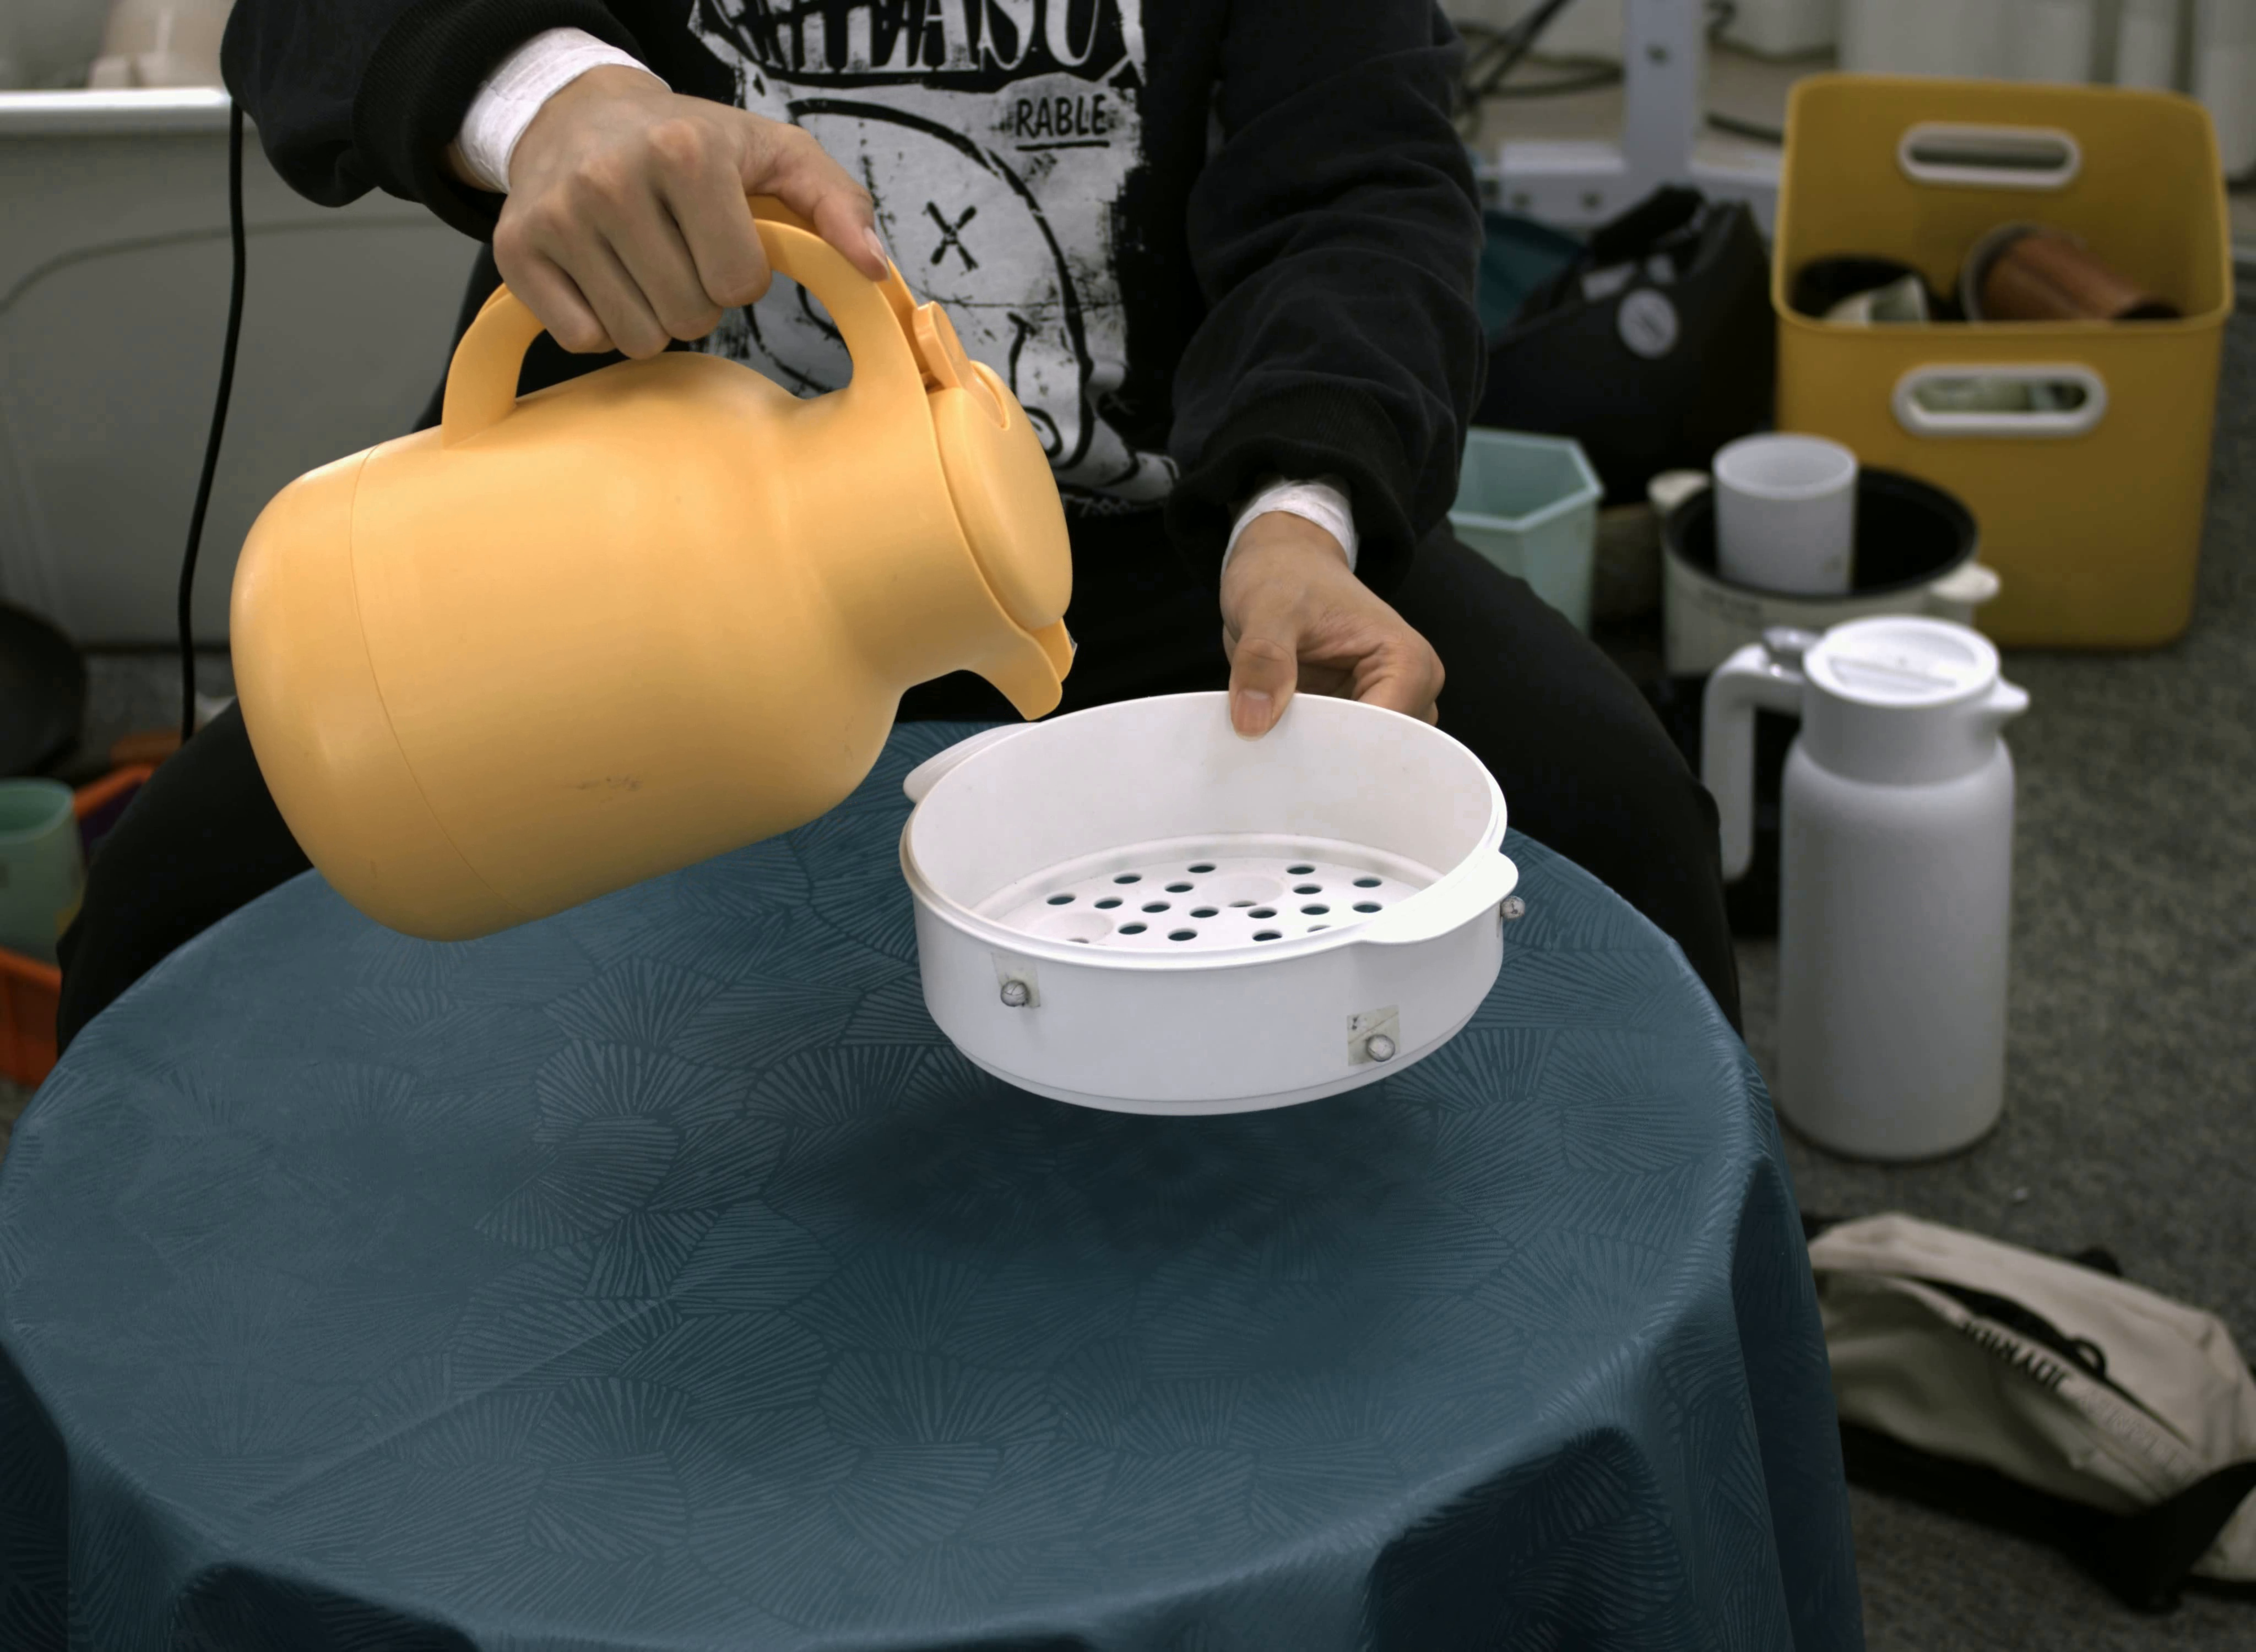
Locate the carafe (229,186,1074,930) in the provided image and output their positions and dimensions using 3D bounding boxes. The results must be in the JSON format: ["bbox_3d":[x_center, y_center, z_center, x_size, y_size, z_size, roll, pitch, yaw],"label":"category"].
[{"bbox_3d":[-0.154,-0.090,1.805,0.258,0.201,0.165,-17,17,11],"label":"carafe"}]

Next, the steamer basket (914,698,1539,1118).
[{"bbox_3d":[0.031,0.027,1.851,0.230,0.068,0.204,18,31,36],"label":"steamer basket"}]
